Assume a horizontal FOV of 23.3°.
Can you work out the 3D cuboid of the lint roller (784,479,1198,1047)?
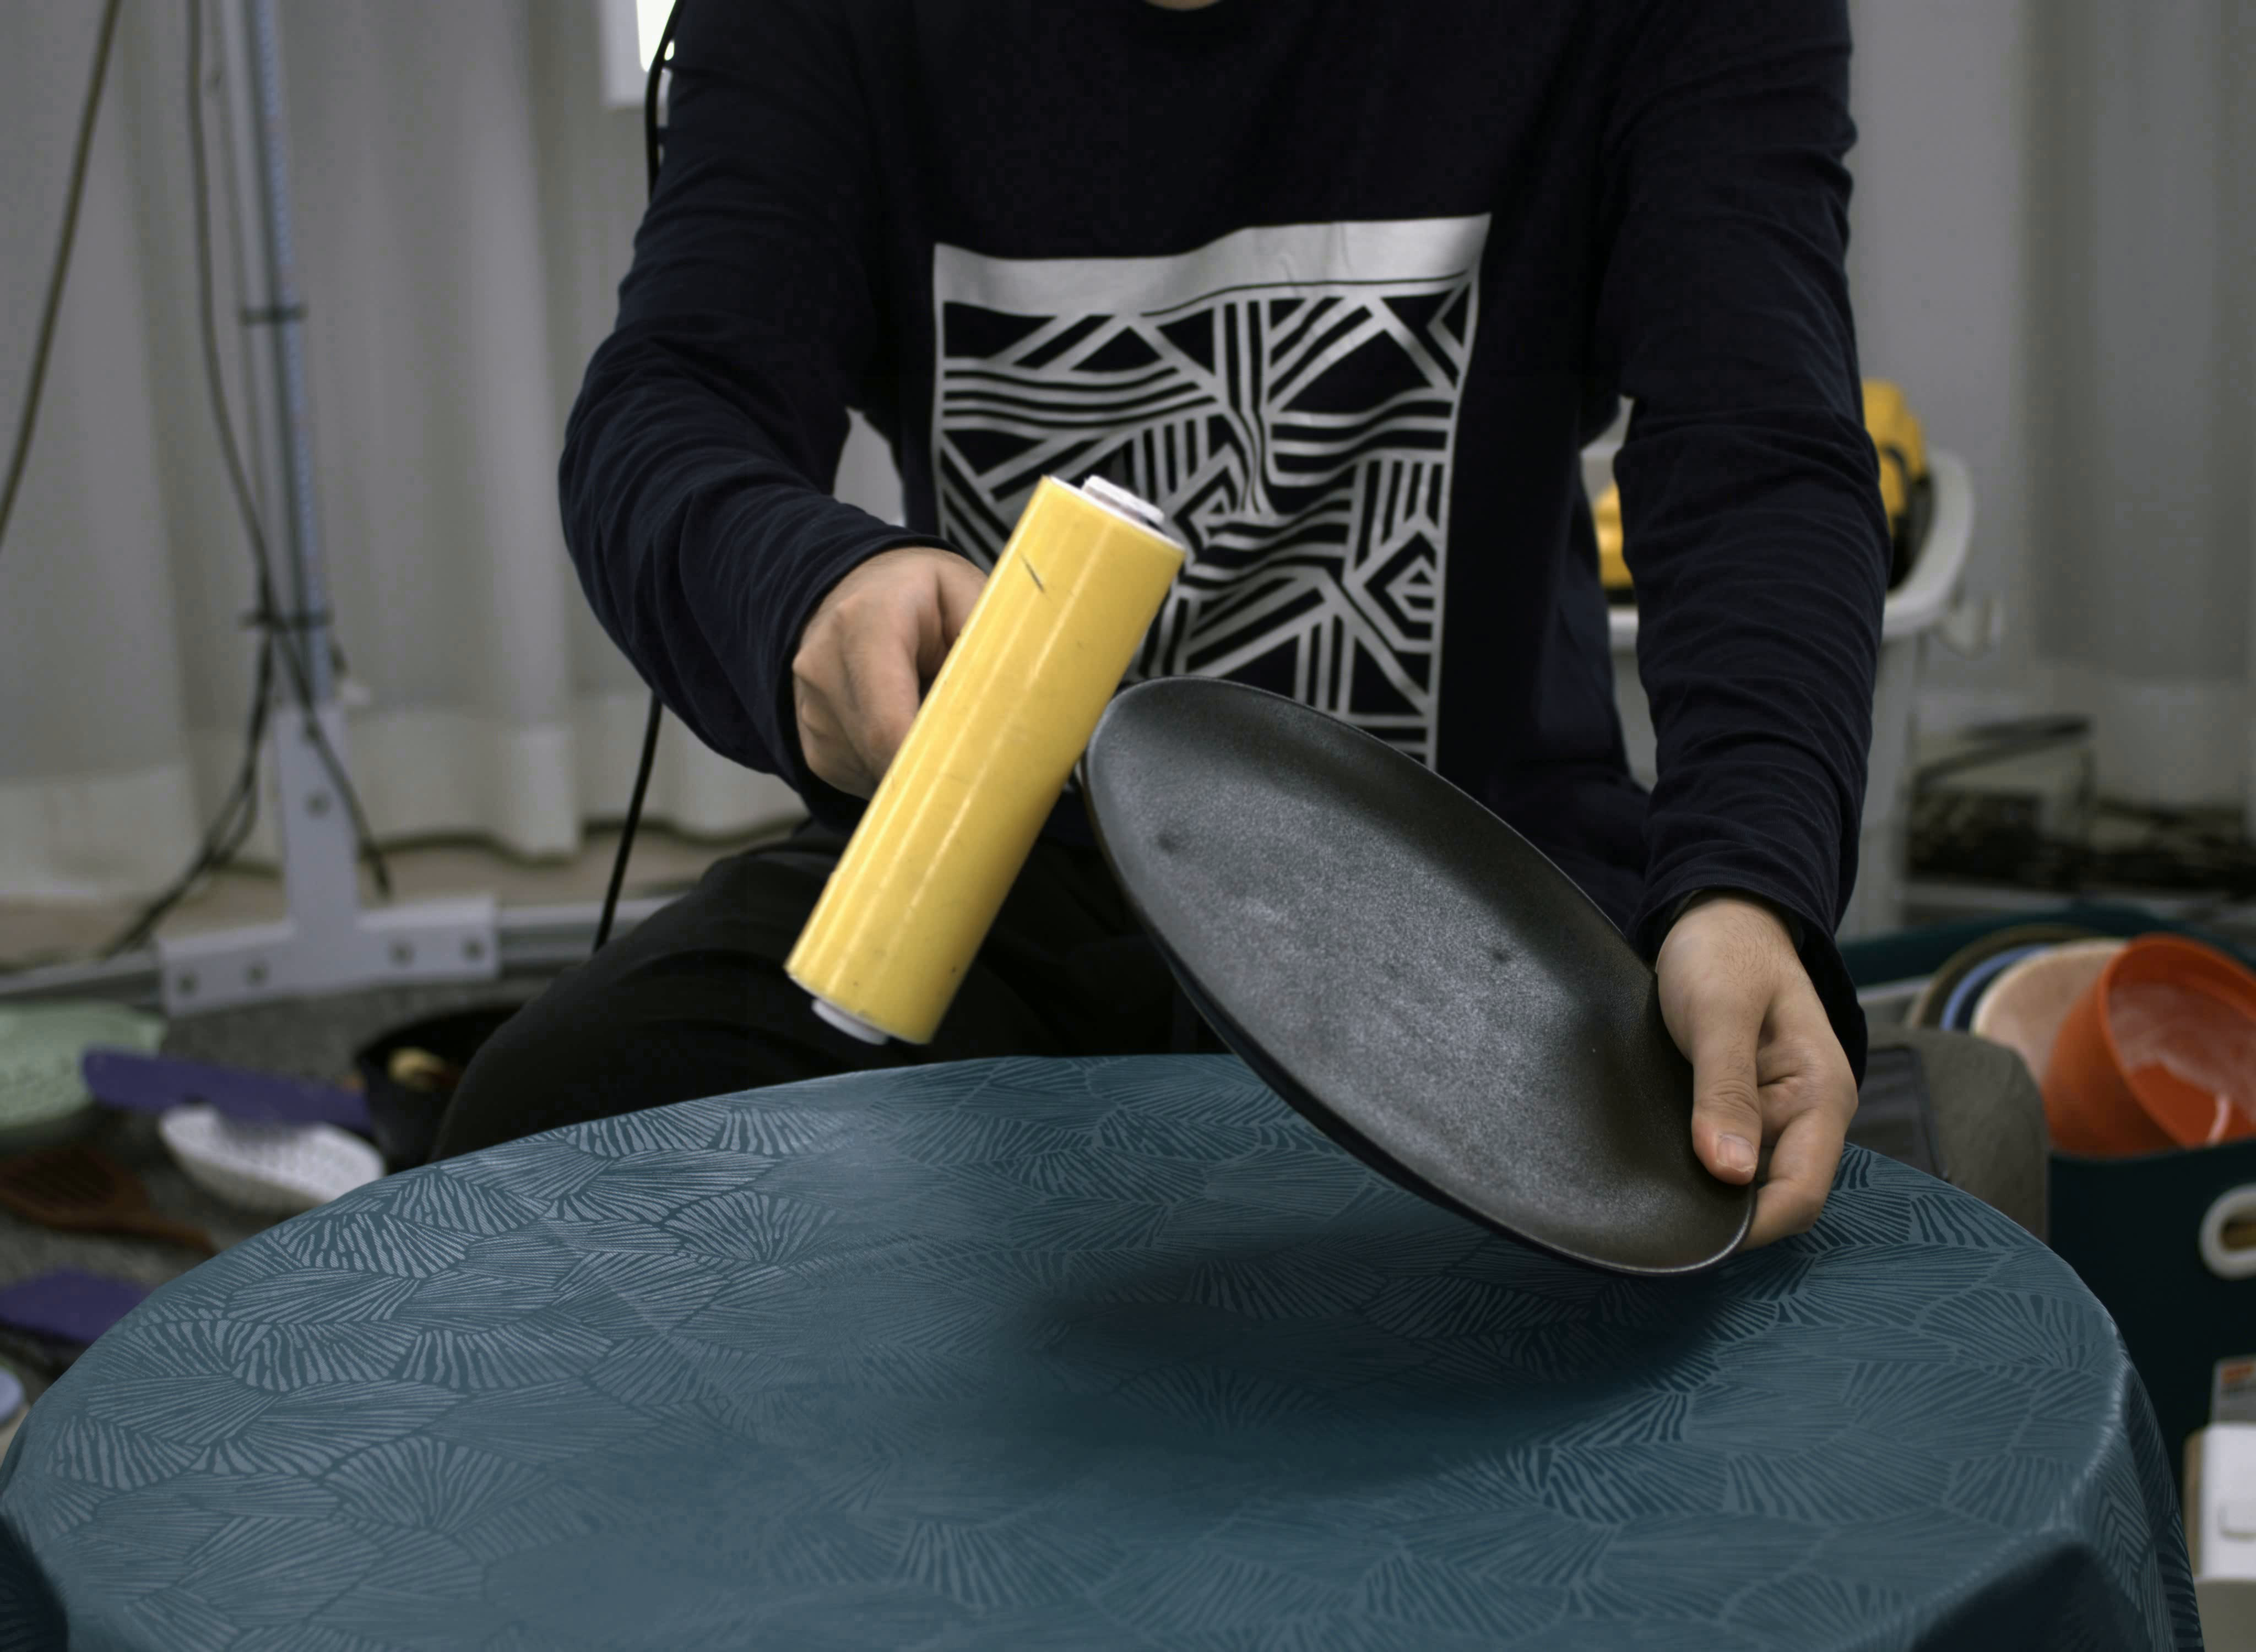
[{"bbox_3d":[-0.059,-0.031,1.631,0.051,0.174,0.193,29,2,-20],"label":"lint roller"}]

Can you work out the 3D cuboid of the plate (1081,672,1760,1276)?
[{"bbox_3d":[0.082,0.047,1.597,0.242,0.023,0.247,30,26,-16],"label":"plate"}]
